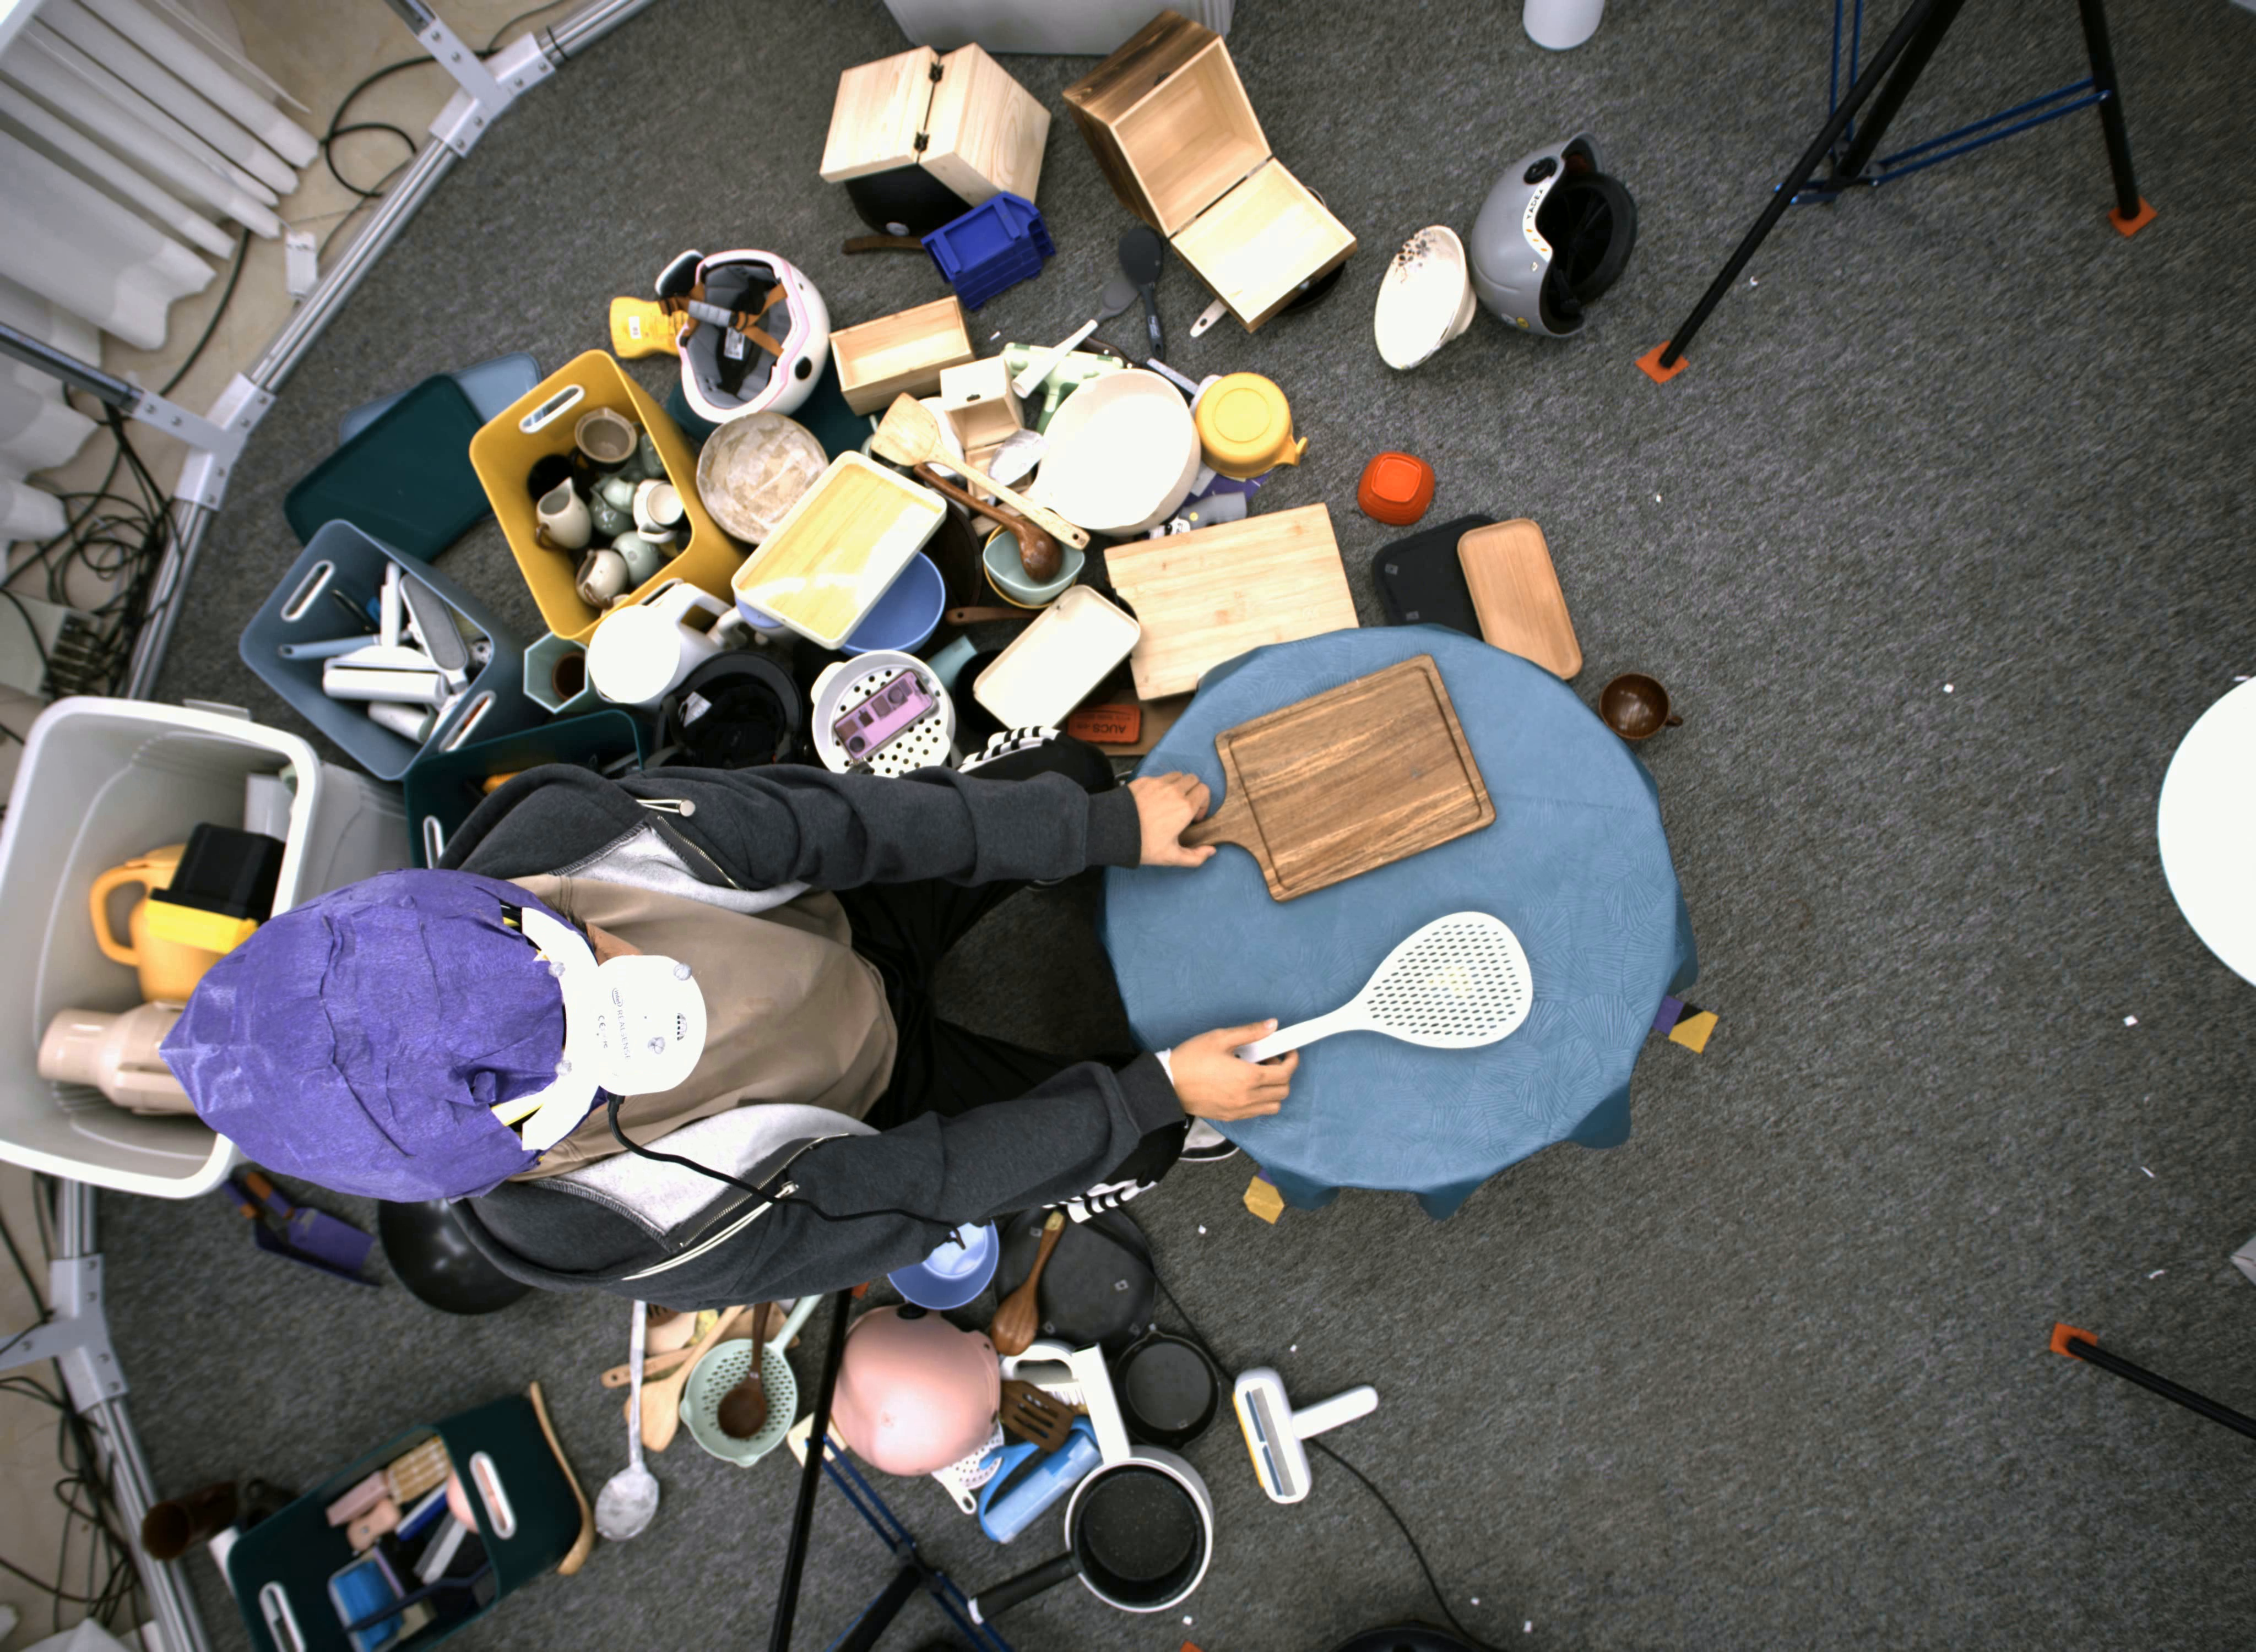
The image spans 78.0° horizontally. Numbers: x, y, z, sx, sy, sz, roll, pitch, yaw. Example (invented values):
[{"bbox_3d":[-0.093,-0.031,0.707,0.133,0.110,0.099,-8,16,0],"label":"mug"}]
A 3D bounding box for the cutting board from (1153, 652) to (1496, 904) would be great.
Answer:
[{"bbox_3d":[0.191,-0.035,1.469,0.354,0.023,0.200,-21,83,8],"label":"cutting board"}]

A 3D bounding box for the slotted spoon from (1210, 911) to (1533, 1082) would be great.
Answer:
[{"bbox_3d":[0.244,0.195,1.436,0.350,0.050,0.136,-21,85,8],"label":"slotted spoon"}]
